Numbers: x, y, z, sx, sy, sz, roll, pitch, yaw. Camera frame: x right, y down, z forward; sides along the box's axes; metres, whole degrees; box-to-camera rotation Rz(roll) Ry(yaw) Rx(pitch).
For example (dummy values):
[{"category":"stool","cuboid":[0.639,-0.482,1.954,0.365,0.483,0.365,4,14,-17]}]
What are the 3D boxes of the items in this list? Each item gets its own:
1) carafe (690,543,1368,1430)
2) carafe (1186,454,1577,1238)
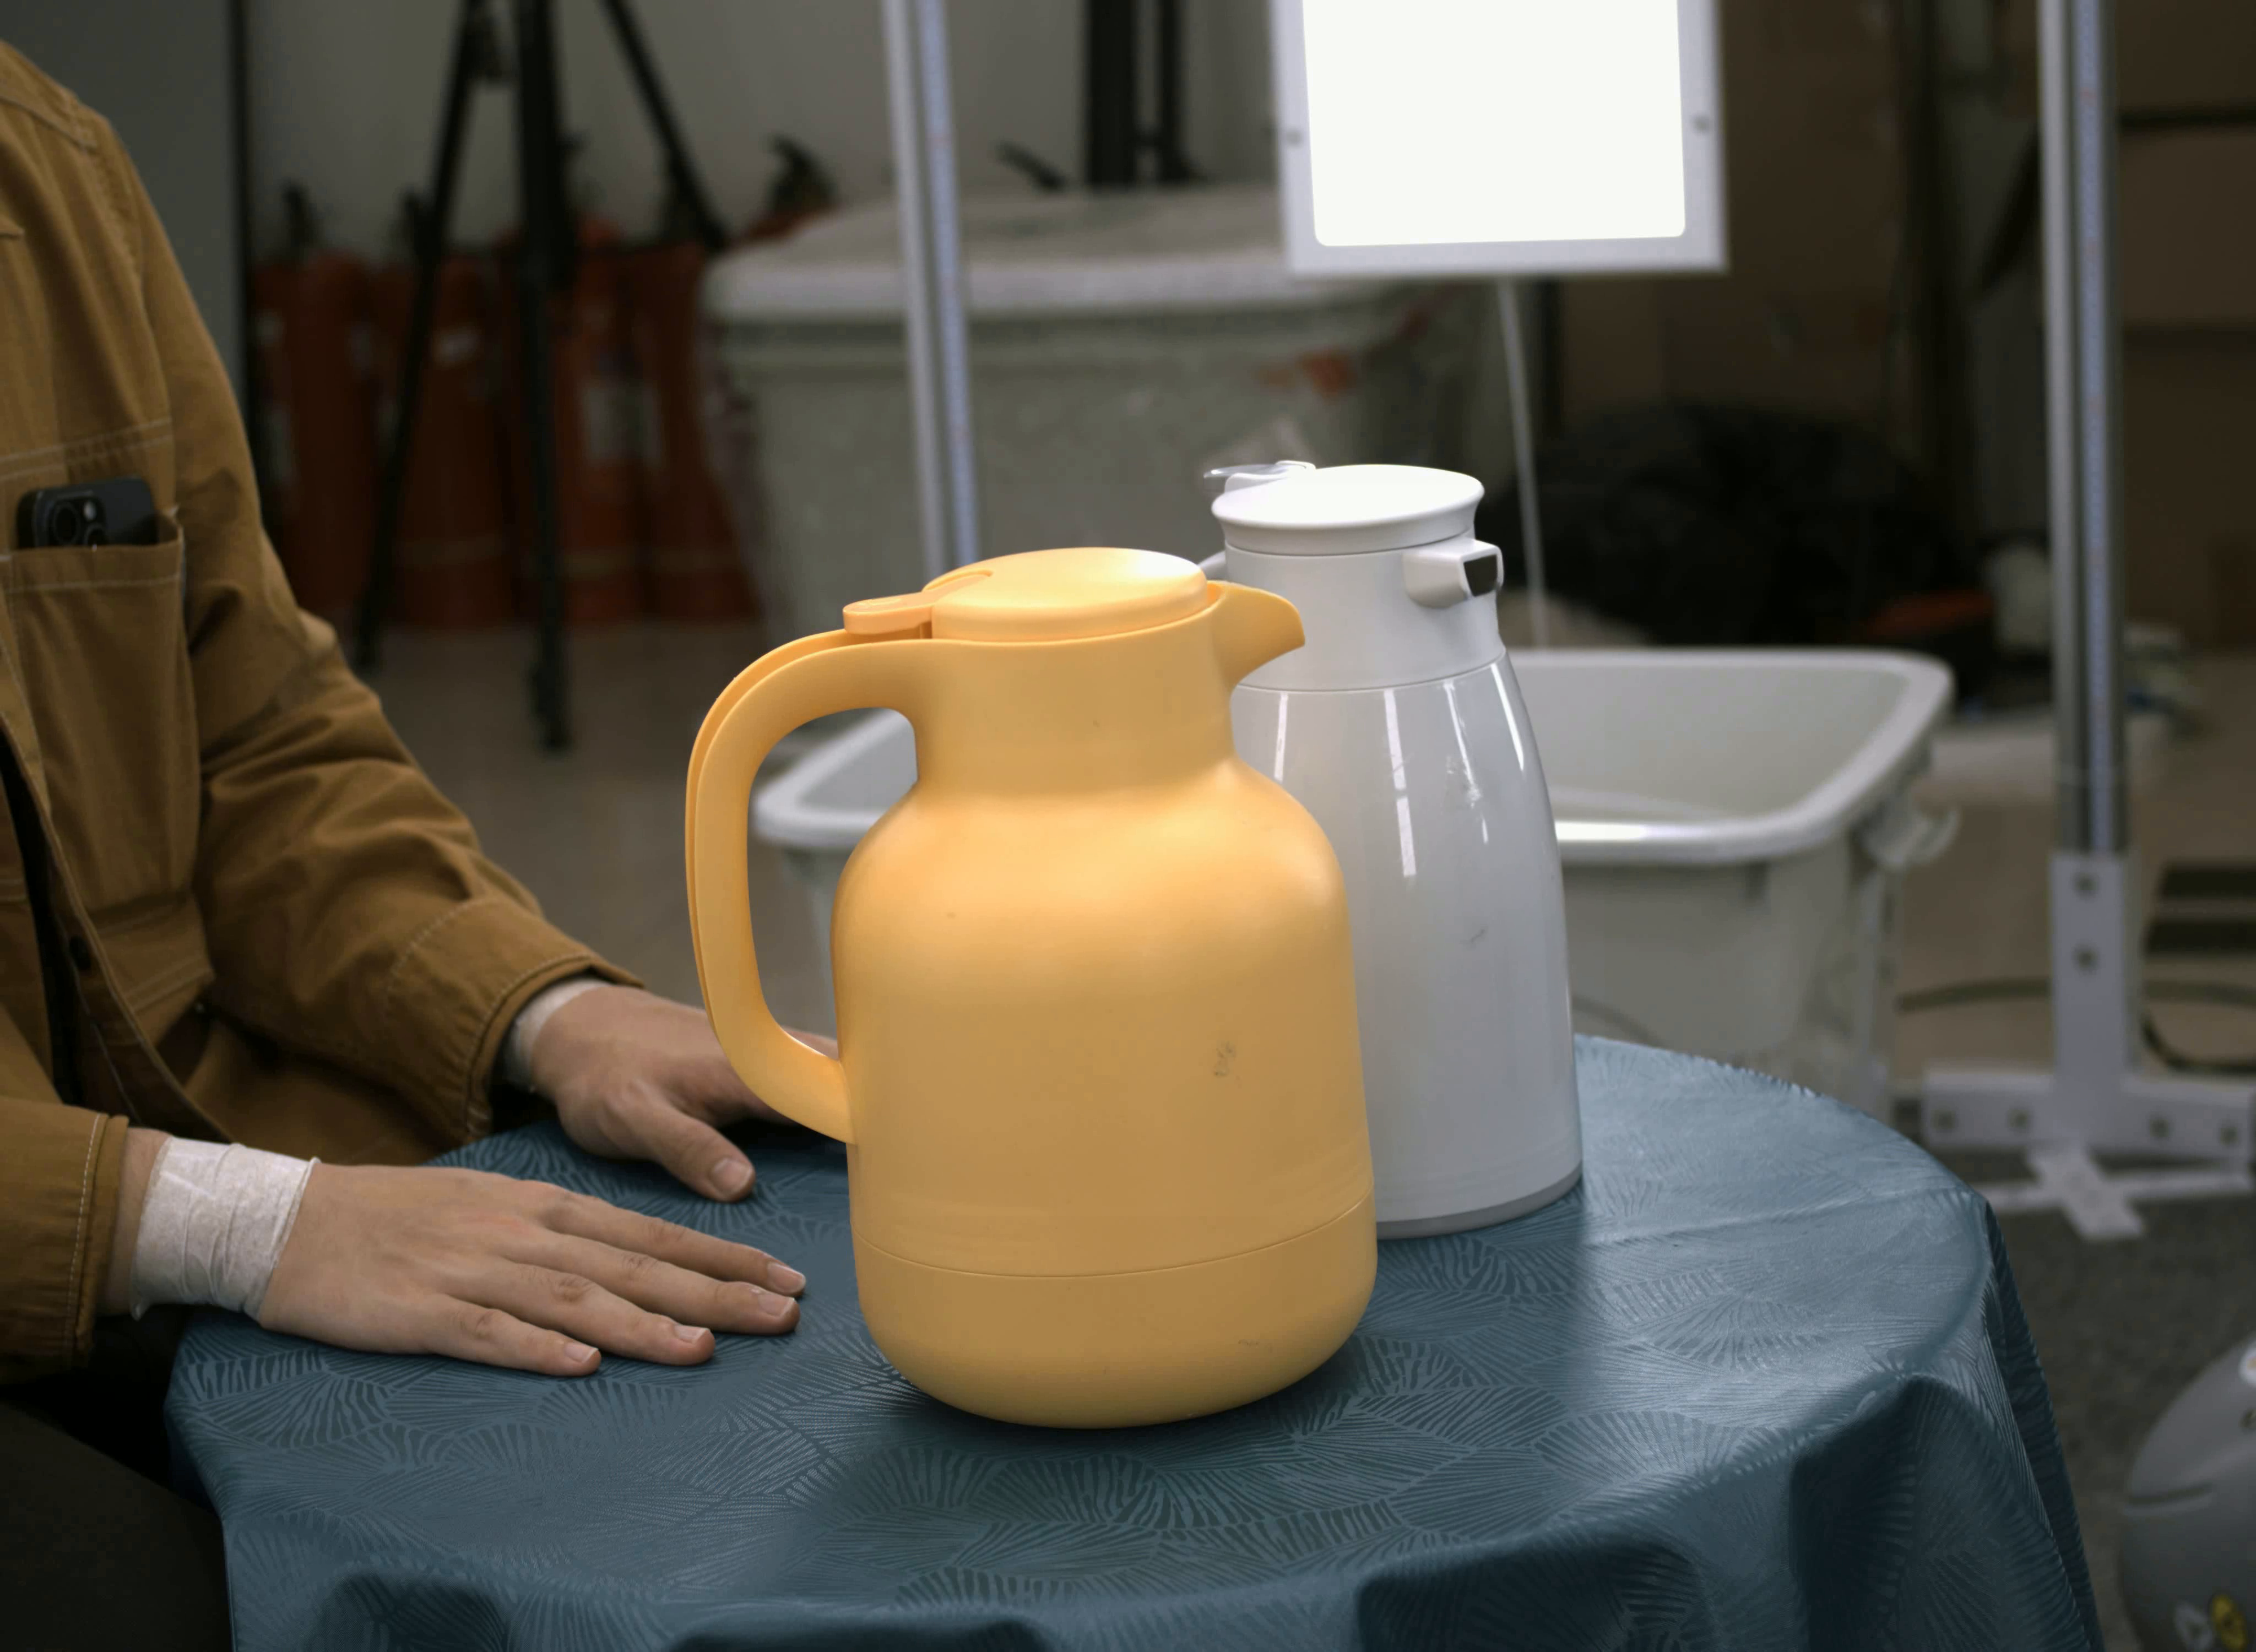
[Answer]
[{"category":"carafe","cuboid":[-0.031,0.047,1.690,0.201,0.261,0.164,-5,12,-6]},{"category":"carafe","cuboid":[0.067,-0.001,1.870,0.129,0.249,0.171,-16,17,-39]}]
